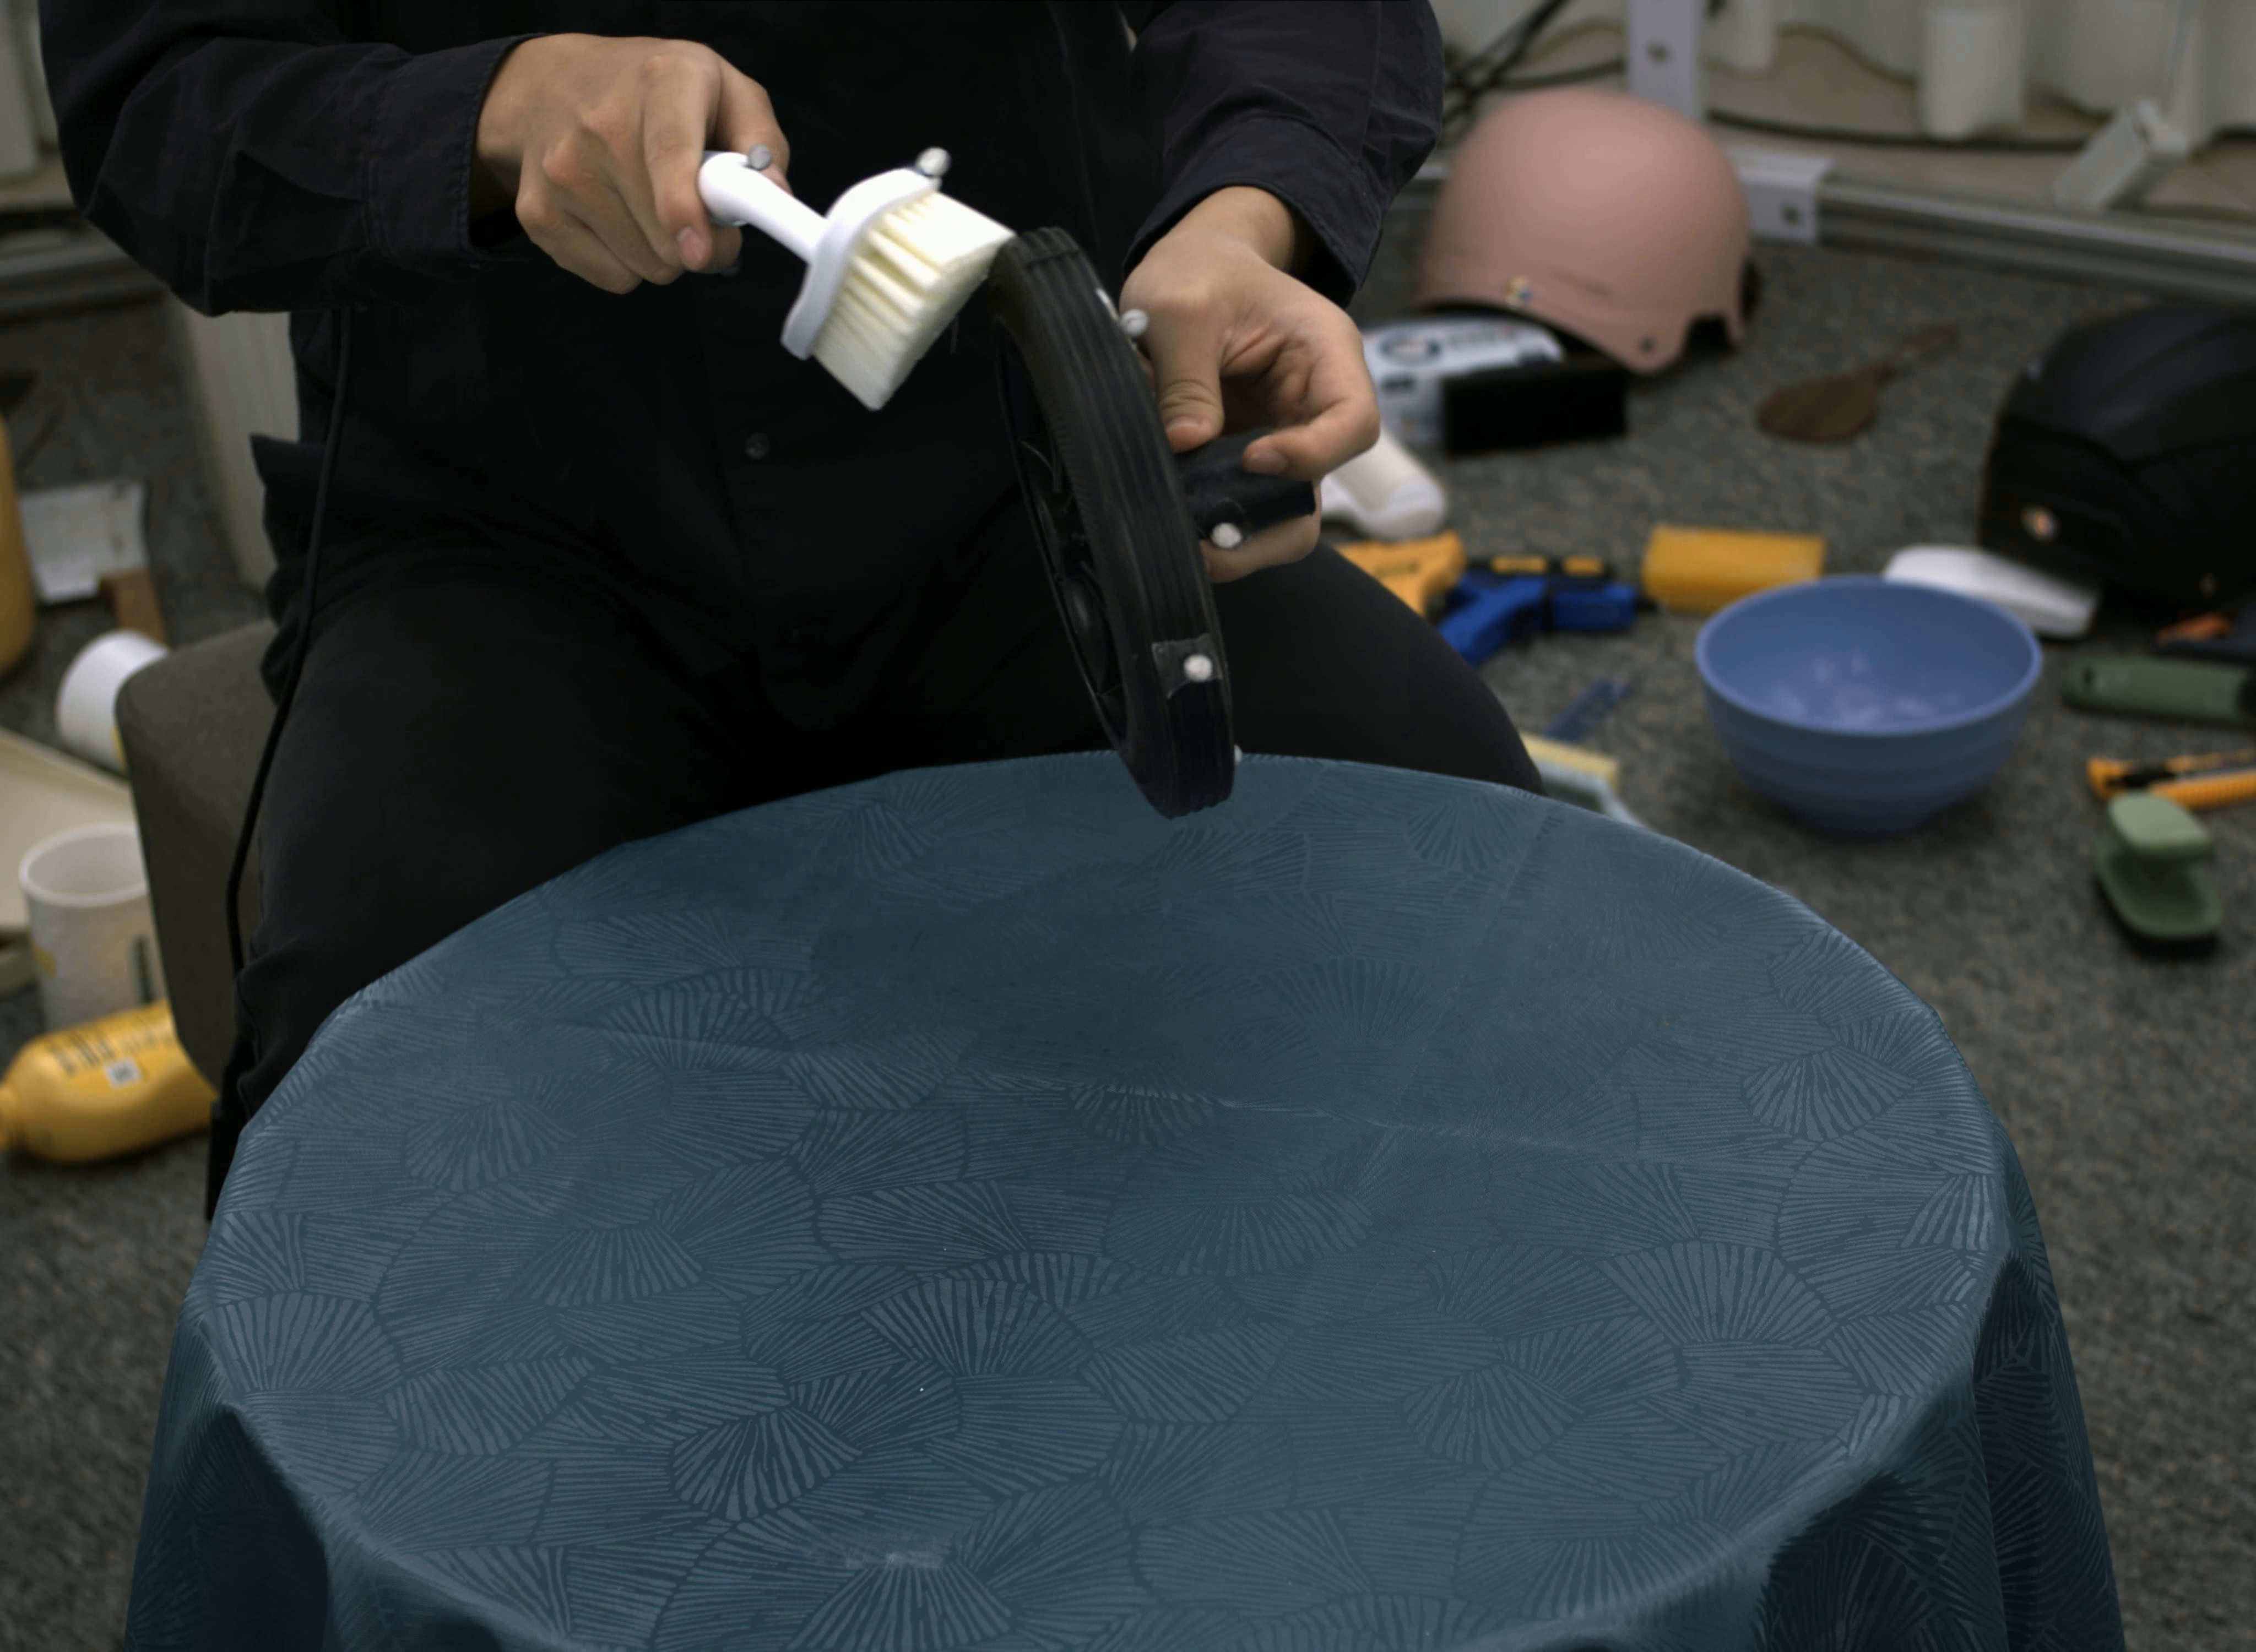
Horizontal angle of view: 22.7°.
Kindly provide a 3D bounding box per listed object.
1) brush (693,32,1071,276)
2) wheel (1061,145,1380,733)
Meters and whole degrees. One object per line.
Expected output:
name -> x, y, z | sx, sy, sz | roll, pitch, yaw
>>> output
brush -> -0.073, -0.228, 1.863 | 0.083, 0.084, 0.325 | -19, 12, -11
wheel -> 0.037, -0.128, 1.780 | 0.079, 0.185, 0.192 | -18, 62, -7
